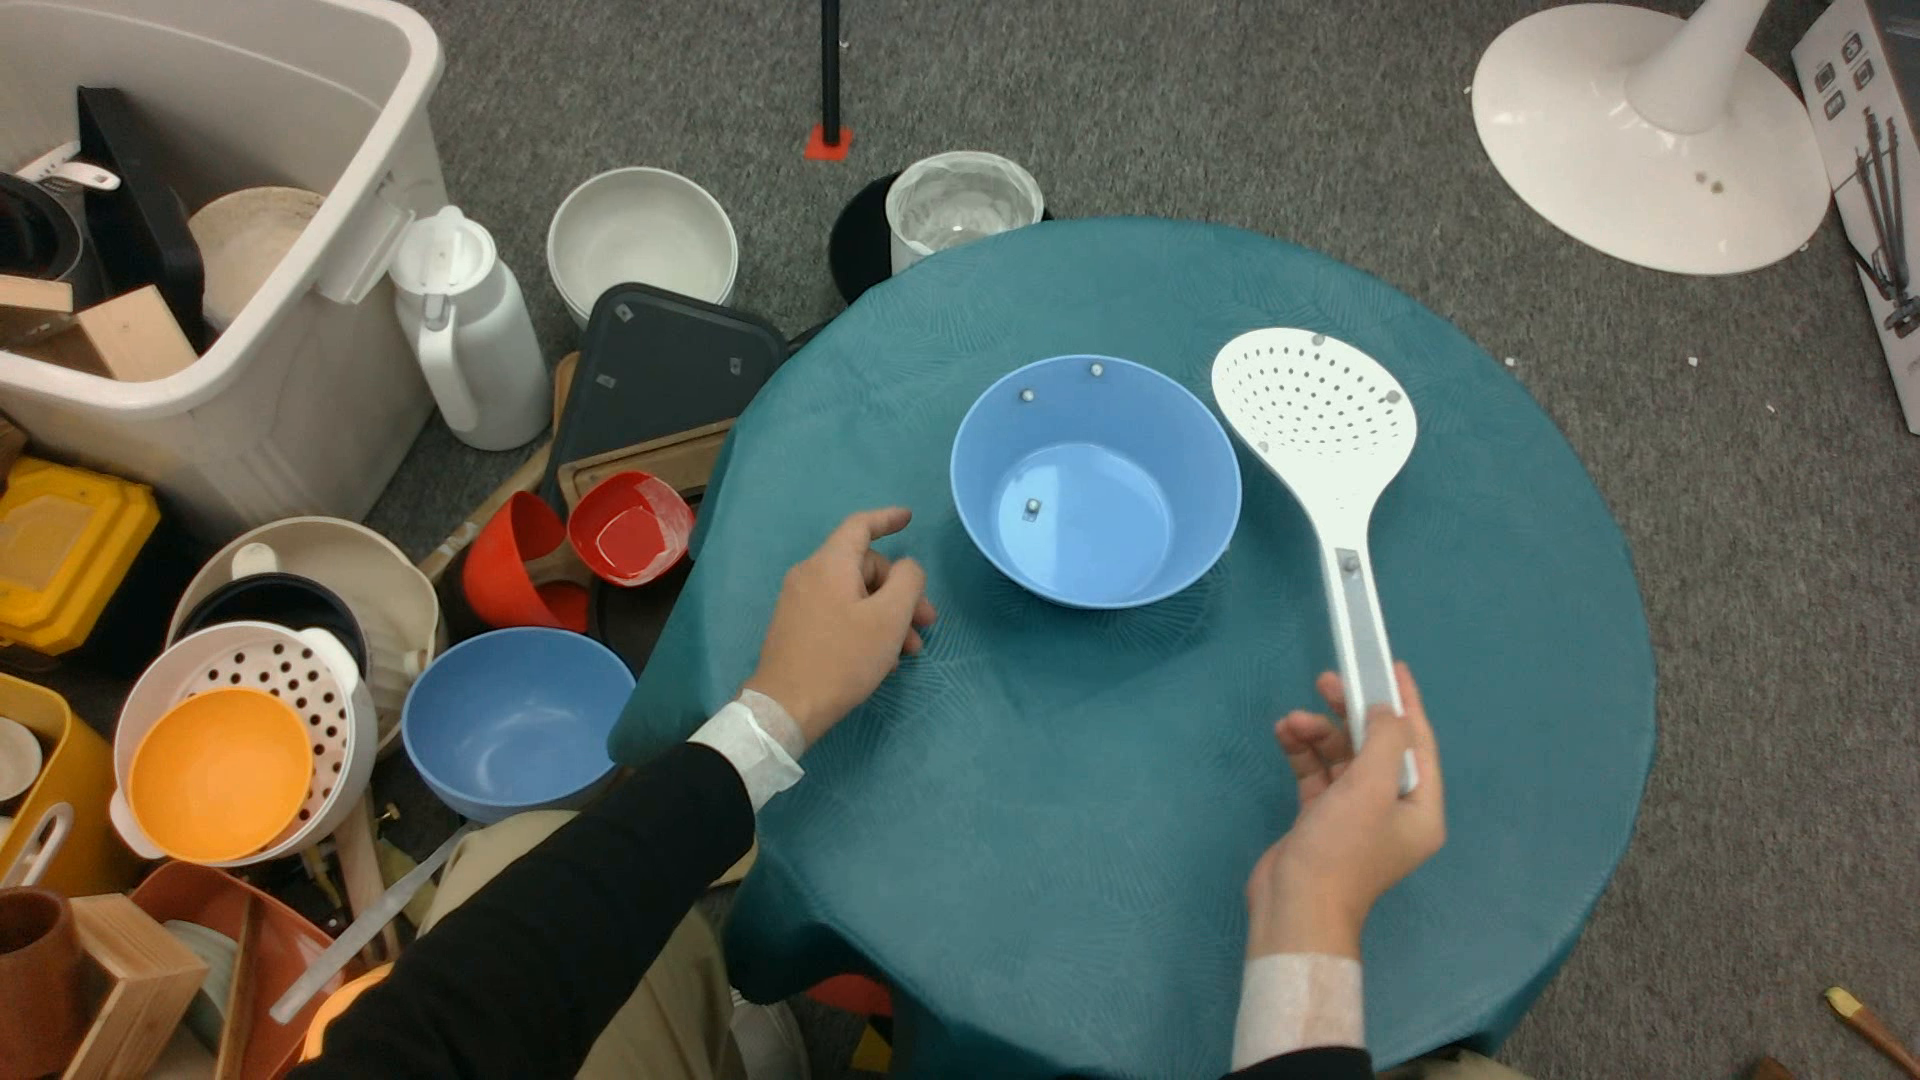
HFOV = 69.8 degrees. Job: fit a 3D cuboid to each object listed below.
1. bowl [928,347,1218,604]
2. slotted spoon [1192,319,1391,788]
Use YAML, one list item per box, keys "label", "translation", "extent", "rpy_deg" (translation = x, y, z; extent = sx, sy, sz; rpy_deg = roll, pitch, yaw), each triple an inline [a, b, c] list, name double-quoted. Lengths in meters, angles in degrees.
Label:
- label: "bowl"
  translation: [0.065, -0.029, 0.849]
  extent: [0.176, 0.070, 0.177]
  rpy_deg: [2, 63, -5]
- label: "slotted spoon"
  translation: [0.212, -0.008, 0.831]
  extent: [0.136, 0.045, 0.351]
  rpy_deg: [8, 45, -8]
